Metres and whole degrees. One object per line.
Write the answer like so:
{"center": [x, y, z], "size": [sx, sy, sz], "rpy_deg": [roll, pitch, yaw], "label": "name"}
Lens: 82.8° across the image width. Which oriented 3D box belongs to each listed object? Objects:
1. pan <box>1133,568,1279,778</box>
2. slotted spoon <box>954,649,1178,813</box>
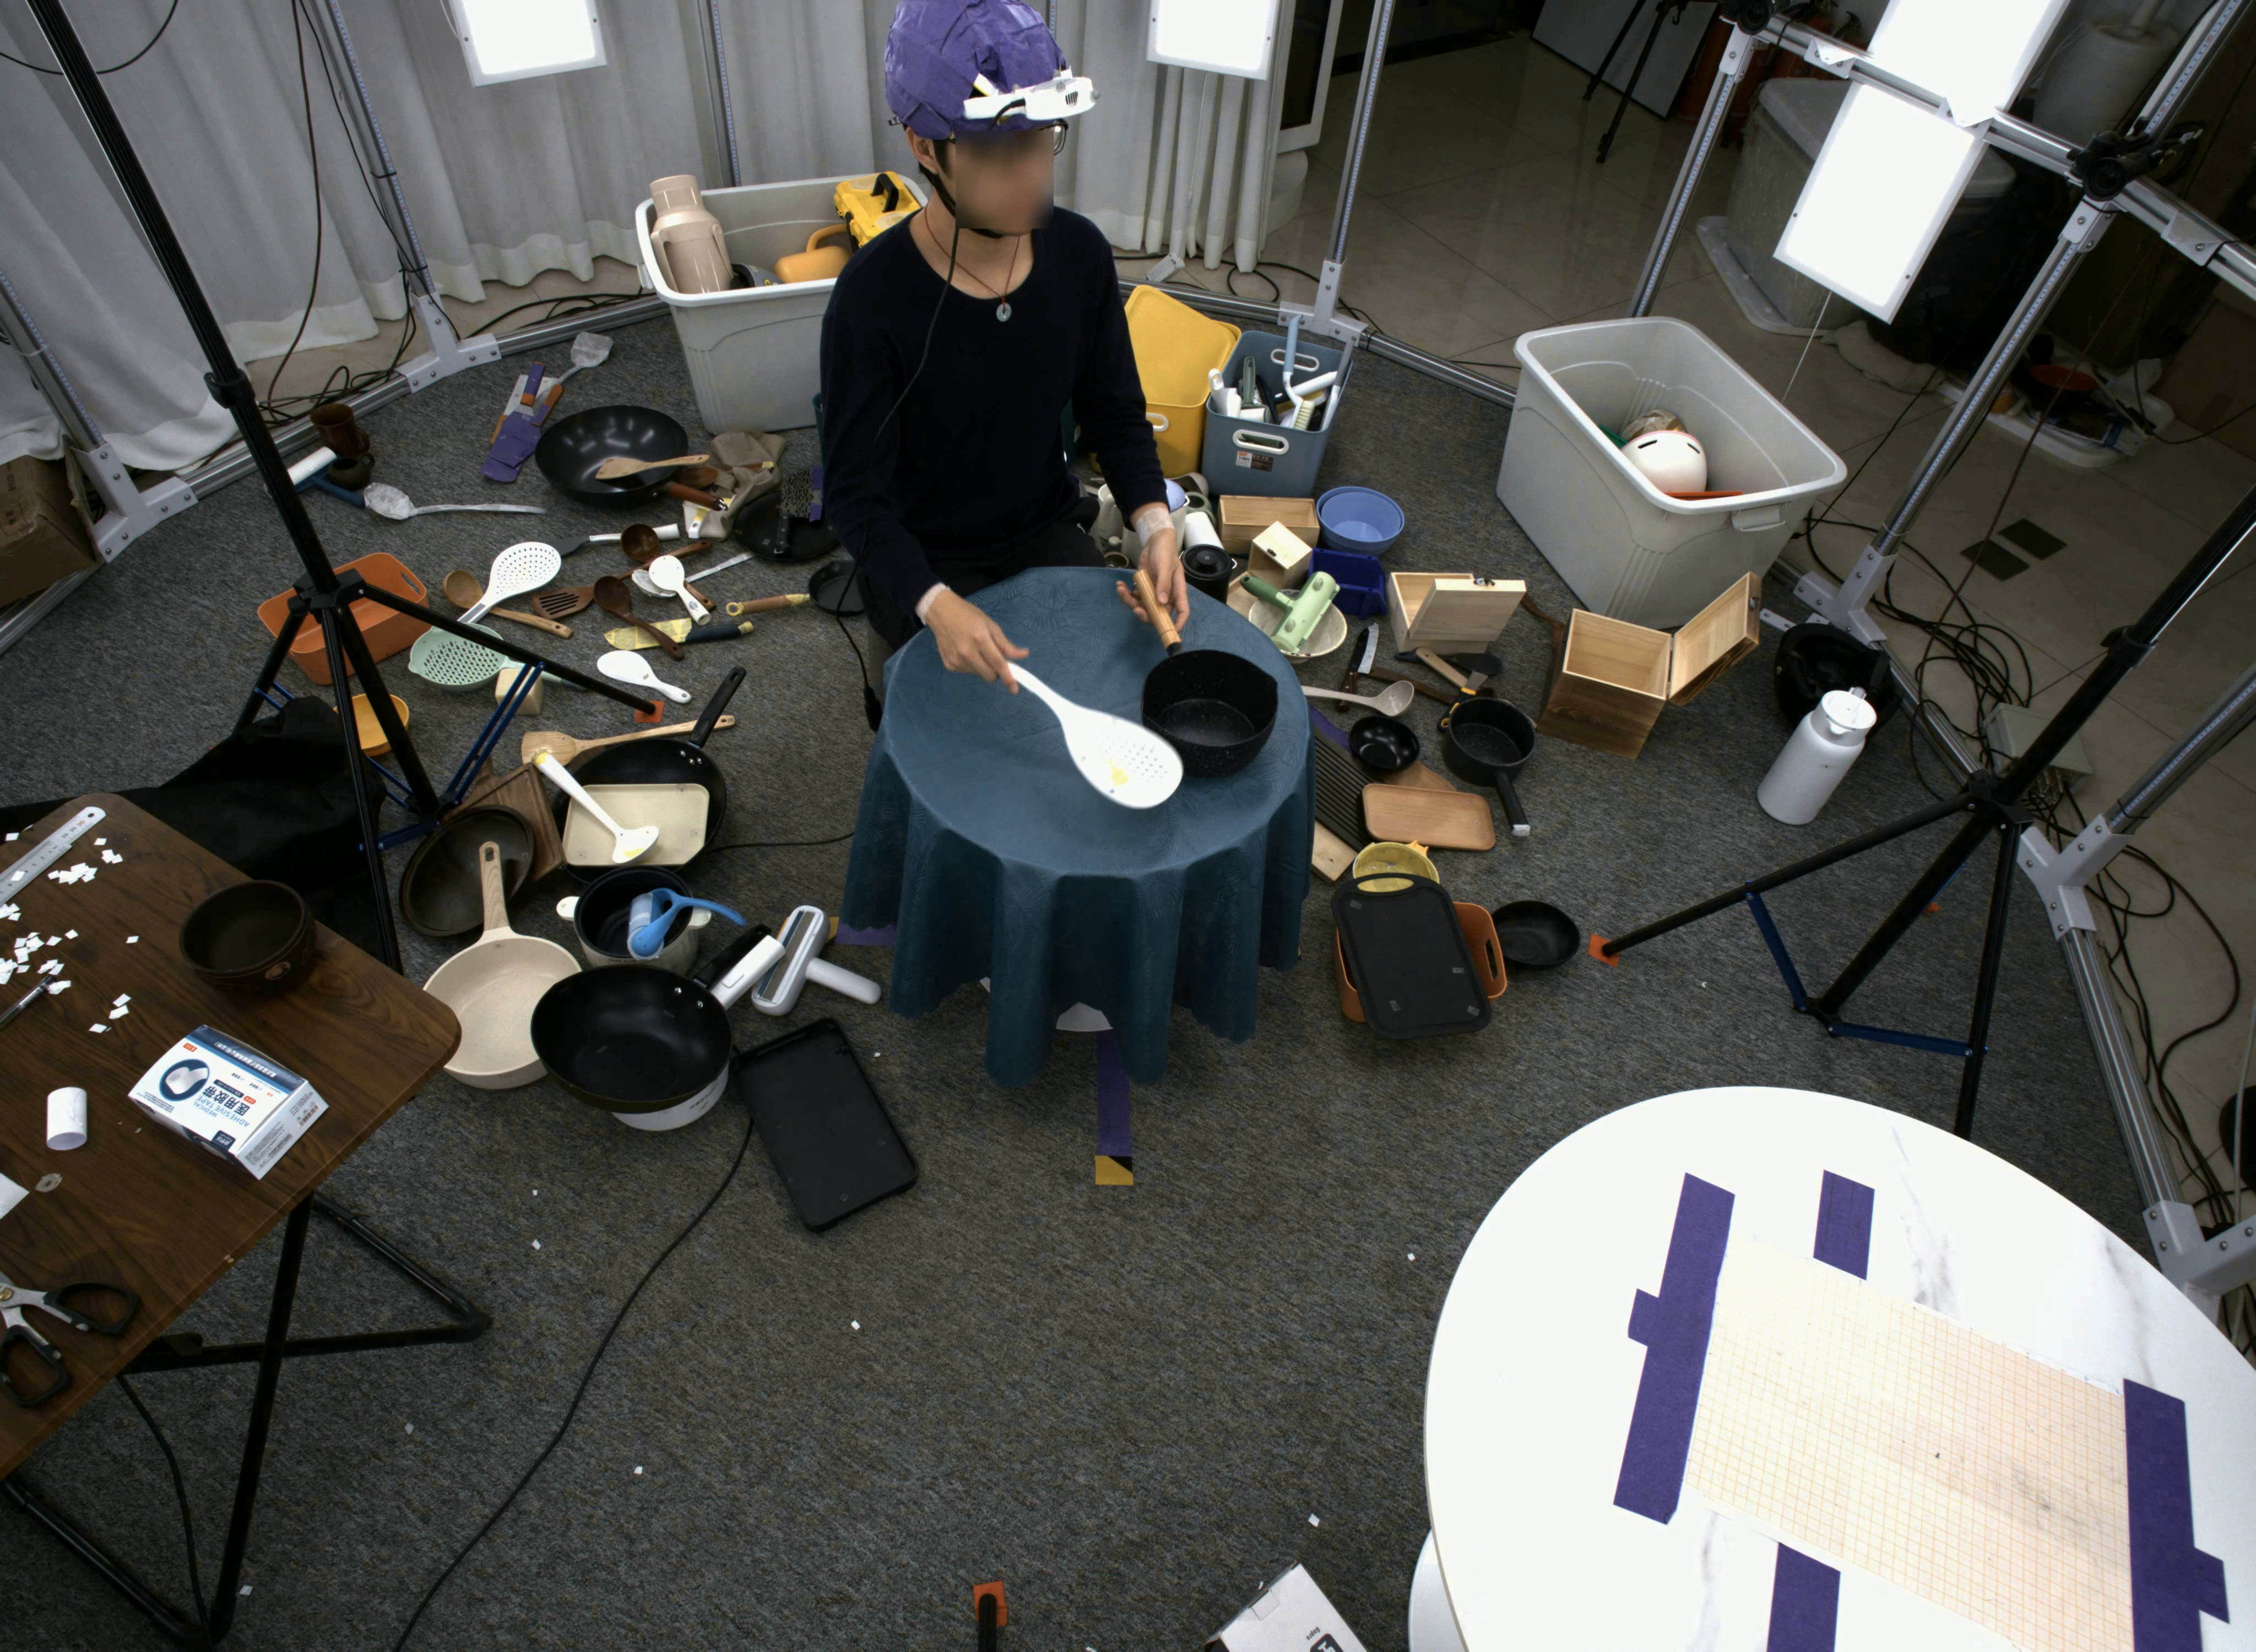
{"center": [0.077, -0.213, 1.789], "size": [0.207, 0.105, 0.351], "rpy_deg": [-17, 54, -16], "label": "pan"}
{"center": [-0.088, -0.135, 1.668], "size": [0.350, 0.049, 0.138], "rpy_deg": [42, 49, 10], "label": "slotted spoon"}
